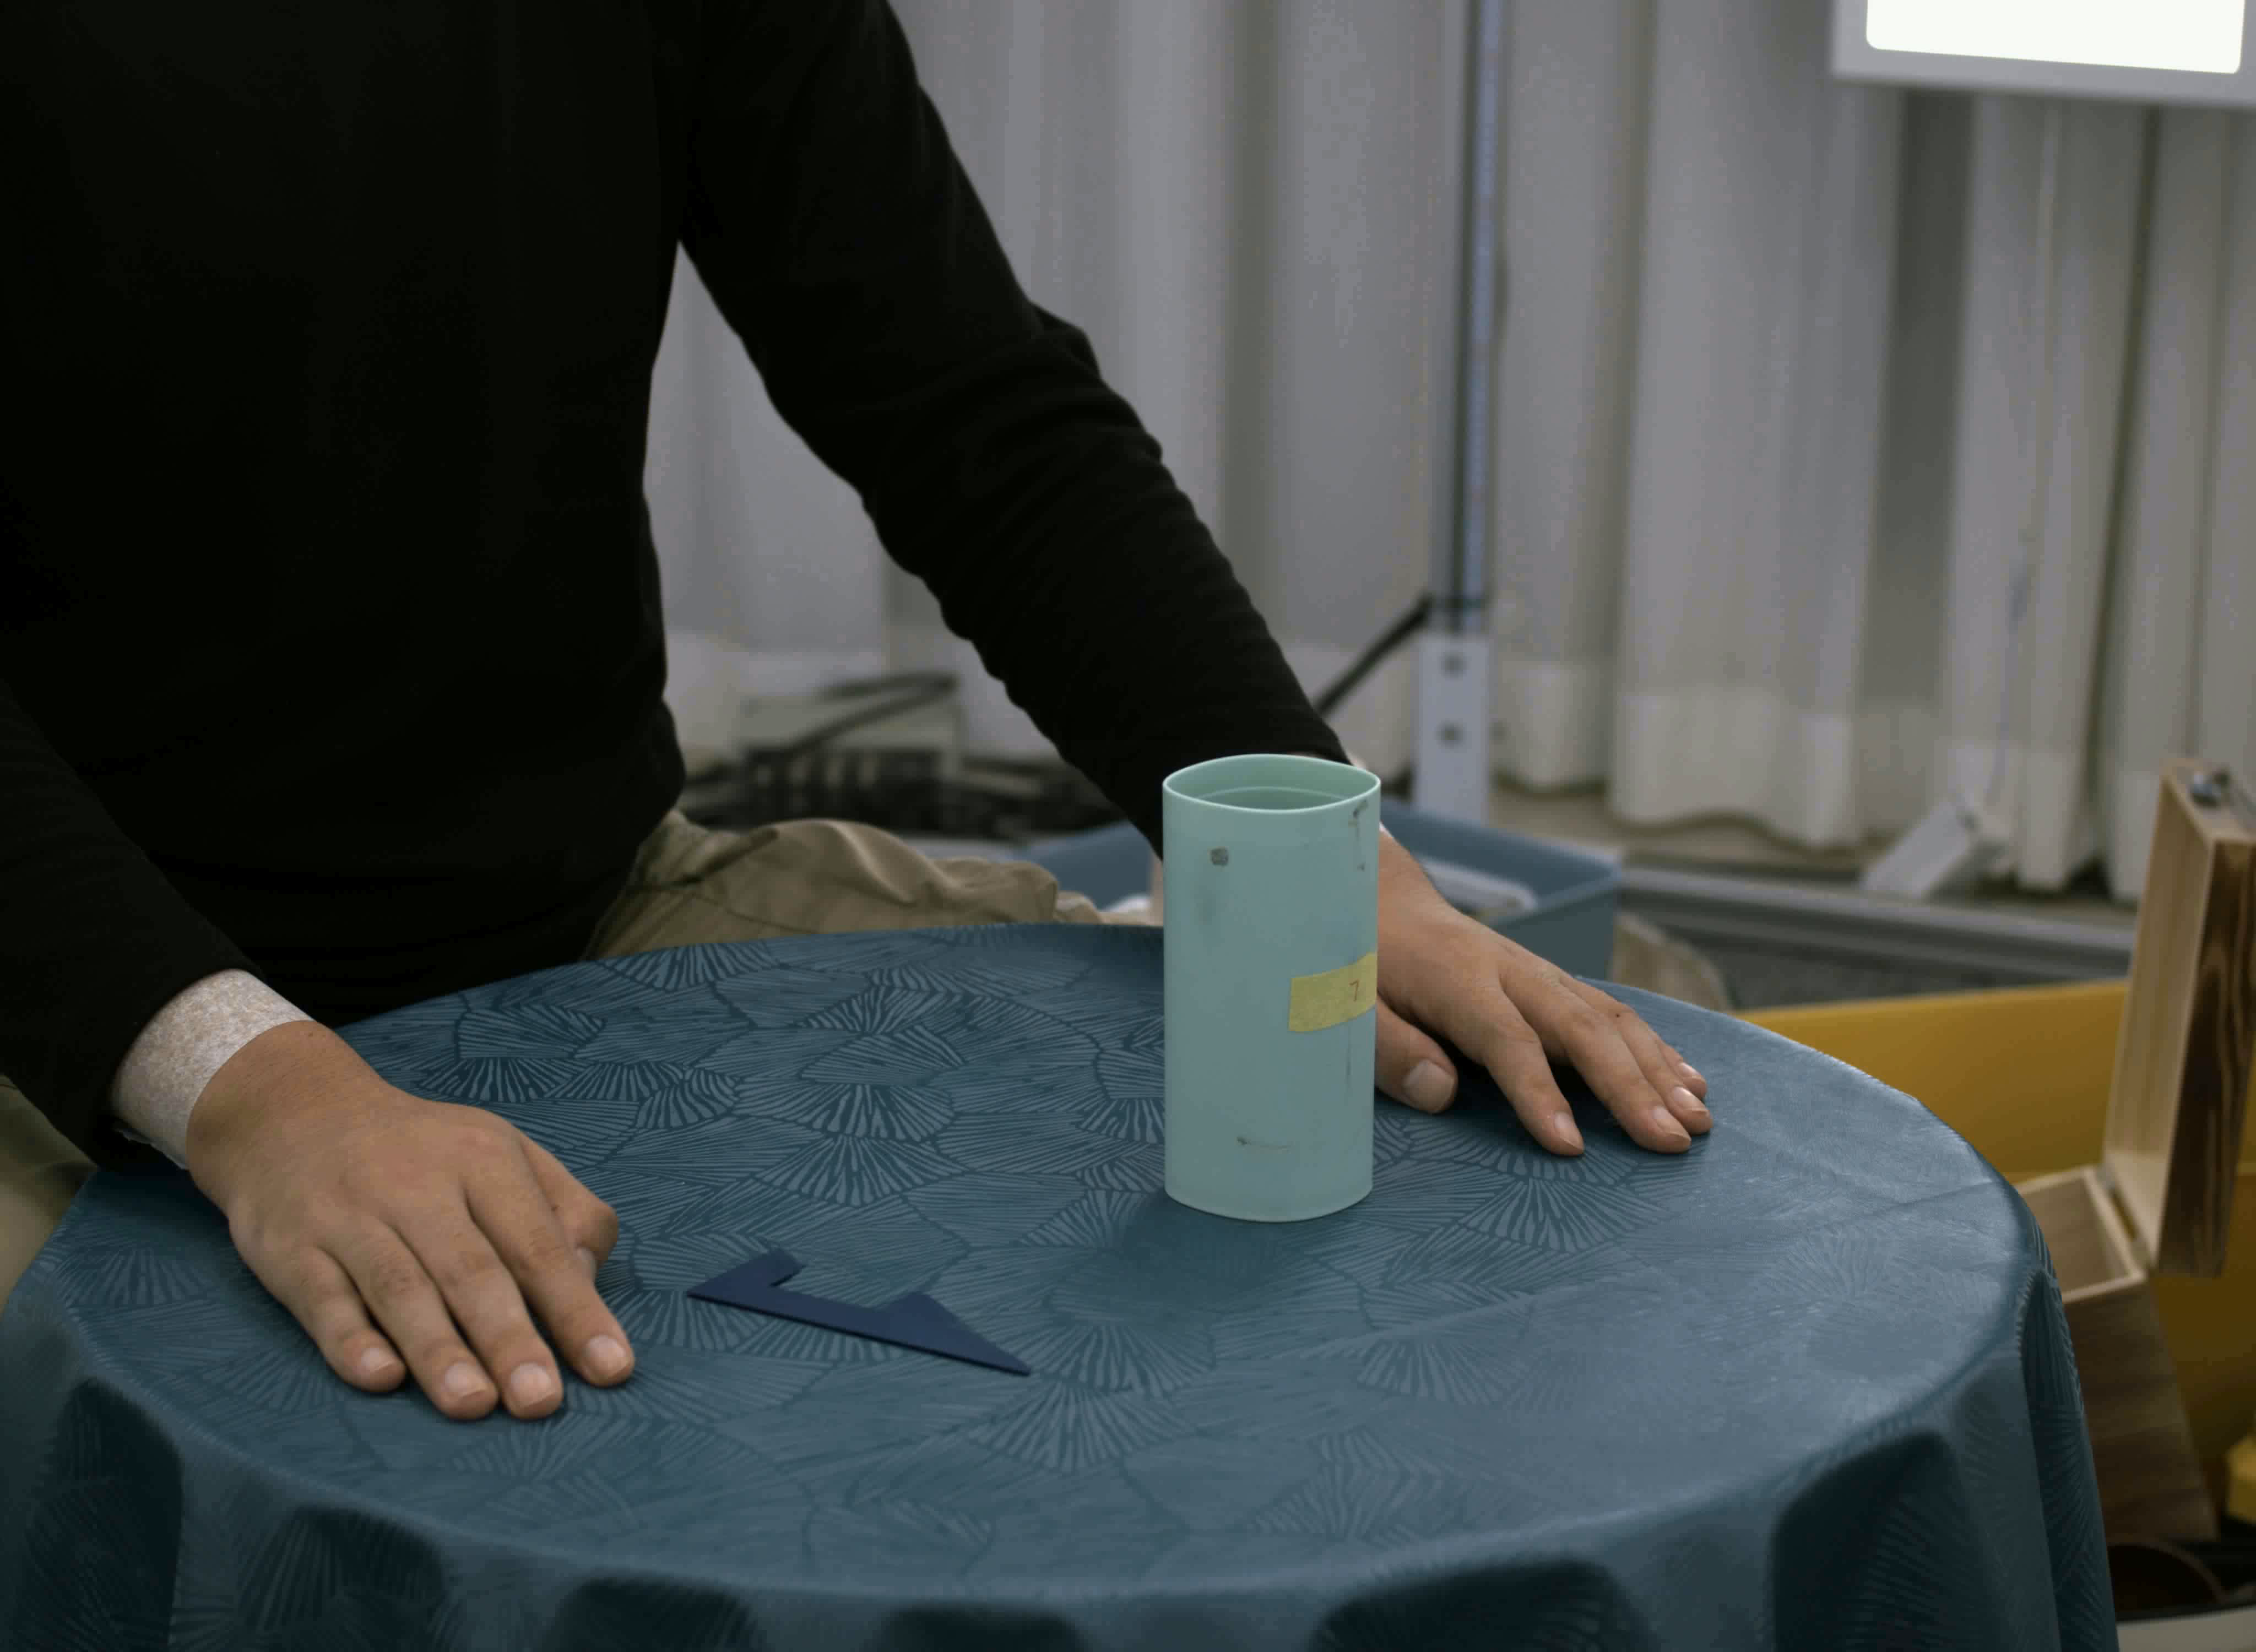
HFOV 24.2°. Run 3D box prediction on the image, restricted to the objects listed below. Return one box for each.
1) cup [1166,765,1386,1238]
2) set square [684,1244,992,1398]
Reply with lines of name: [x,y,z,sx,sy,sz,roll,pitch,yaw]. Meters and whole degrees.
cup: [0.043,0.052,1.607,0.066,0.133,0.066,0,17,0]
set square: [-0.087,0.142,1.502,0.061,0.006,0.130,-5,16,-23]
